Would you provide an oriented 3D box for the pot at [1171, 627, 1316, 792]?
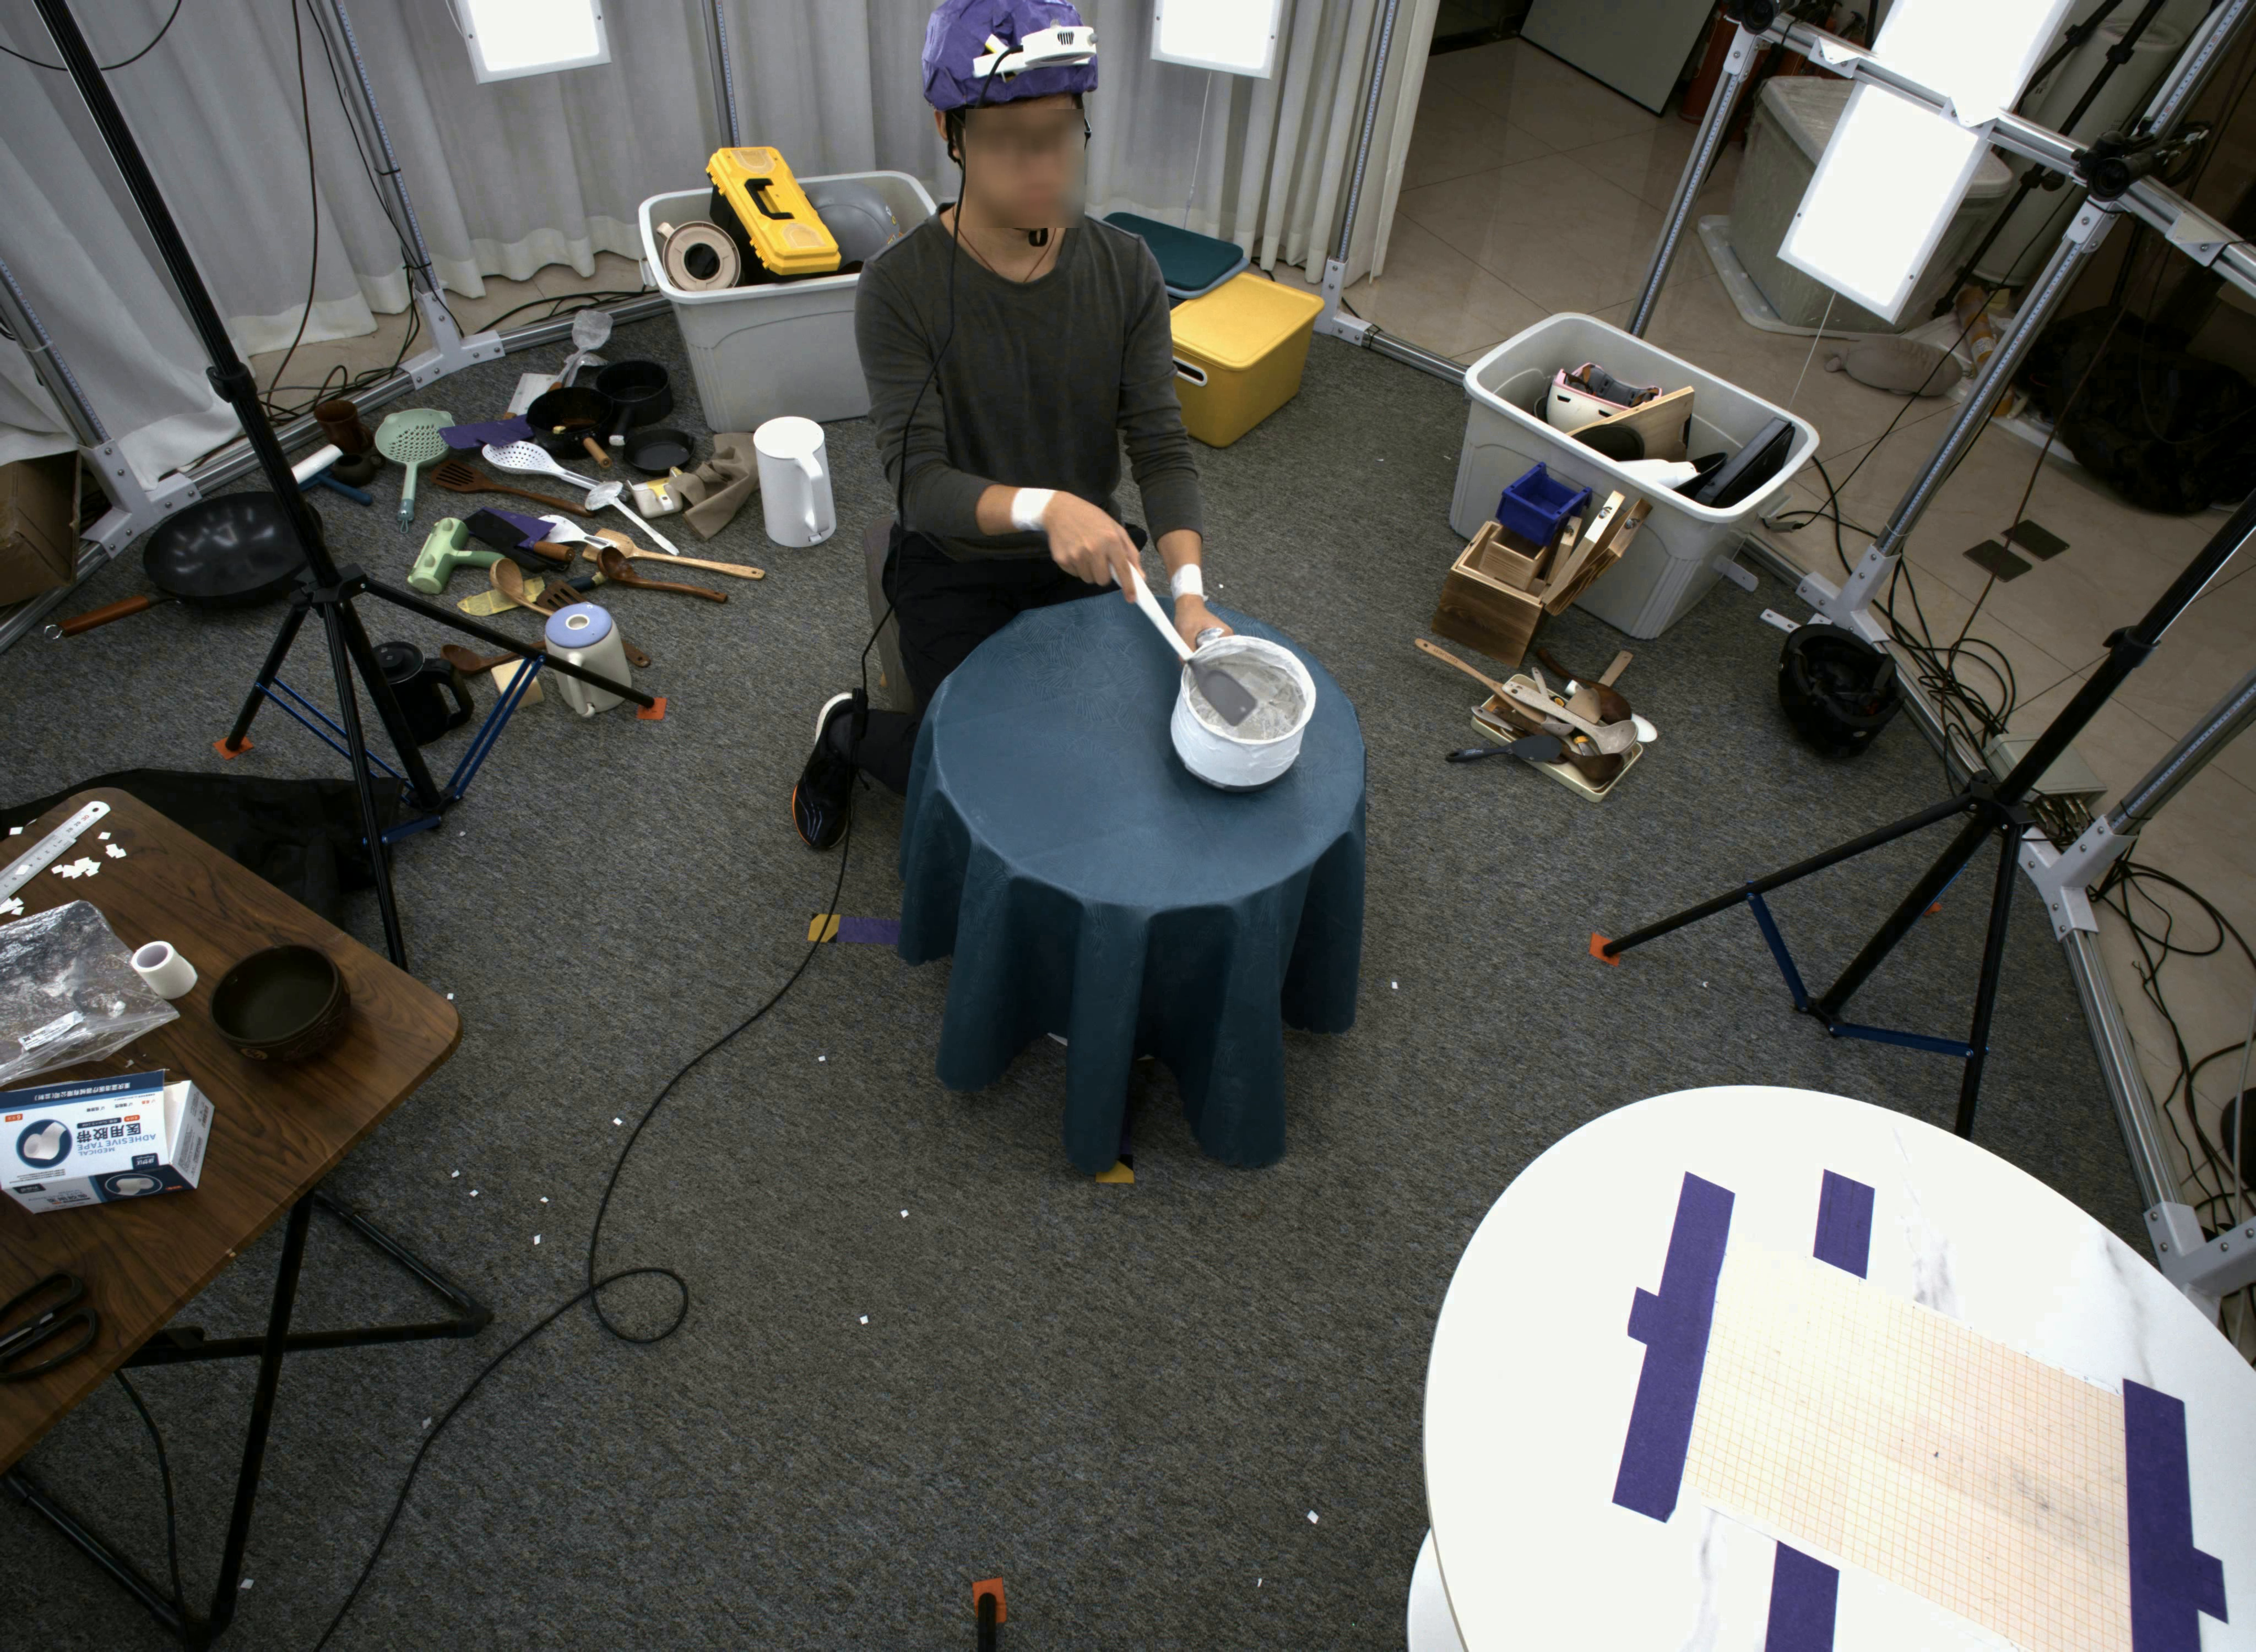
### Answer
[{"bbox_3d":[0.138,-0.167,1.719,0.179,0.133,0.238,-16,60,-17],"label":"pot"}]

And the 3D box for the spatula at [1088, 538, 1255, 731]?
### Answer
[{"bbox_3d":[0.054,-0.242,1.623,0.059,0.032,0.286,-44,99,-22],"label":"spatula"}]
